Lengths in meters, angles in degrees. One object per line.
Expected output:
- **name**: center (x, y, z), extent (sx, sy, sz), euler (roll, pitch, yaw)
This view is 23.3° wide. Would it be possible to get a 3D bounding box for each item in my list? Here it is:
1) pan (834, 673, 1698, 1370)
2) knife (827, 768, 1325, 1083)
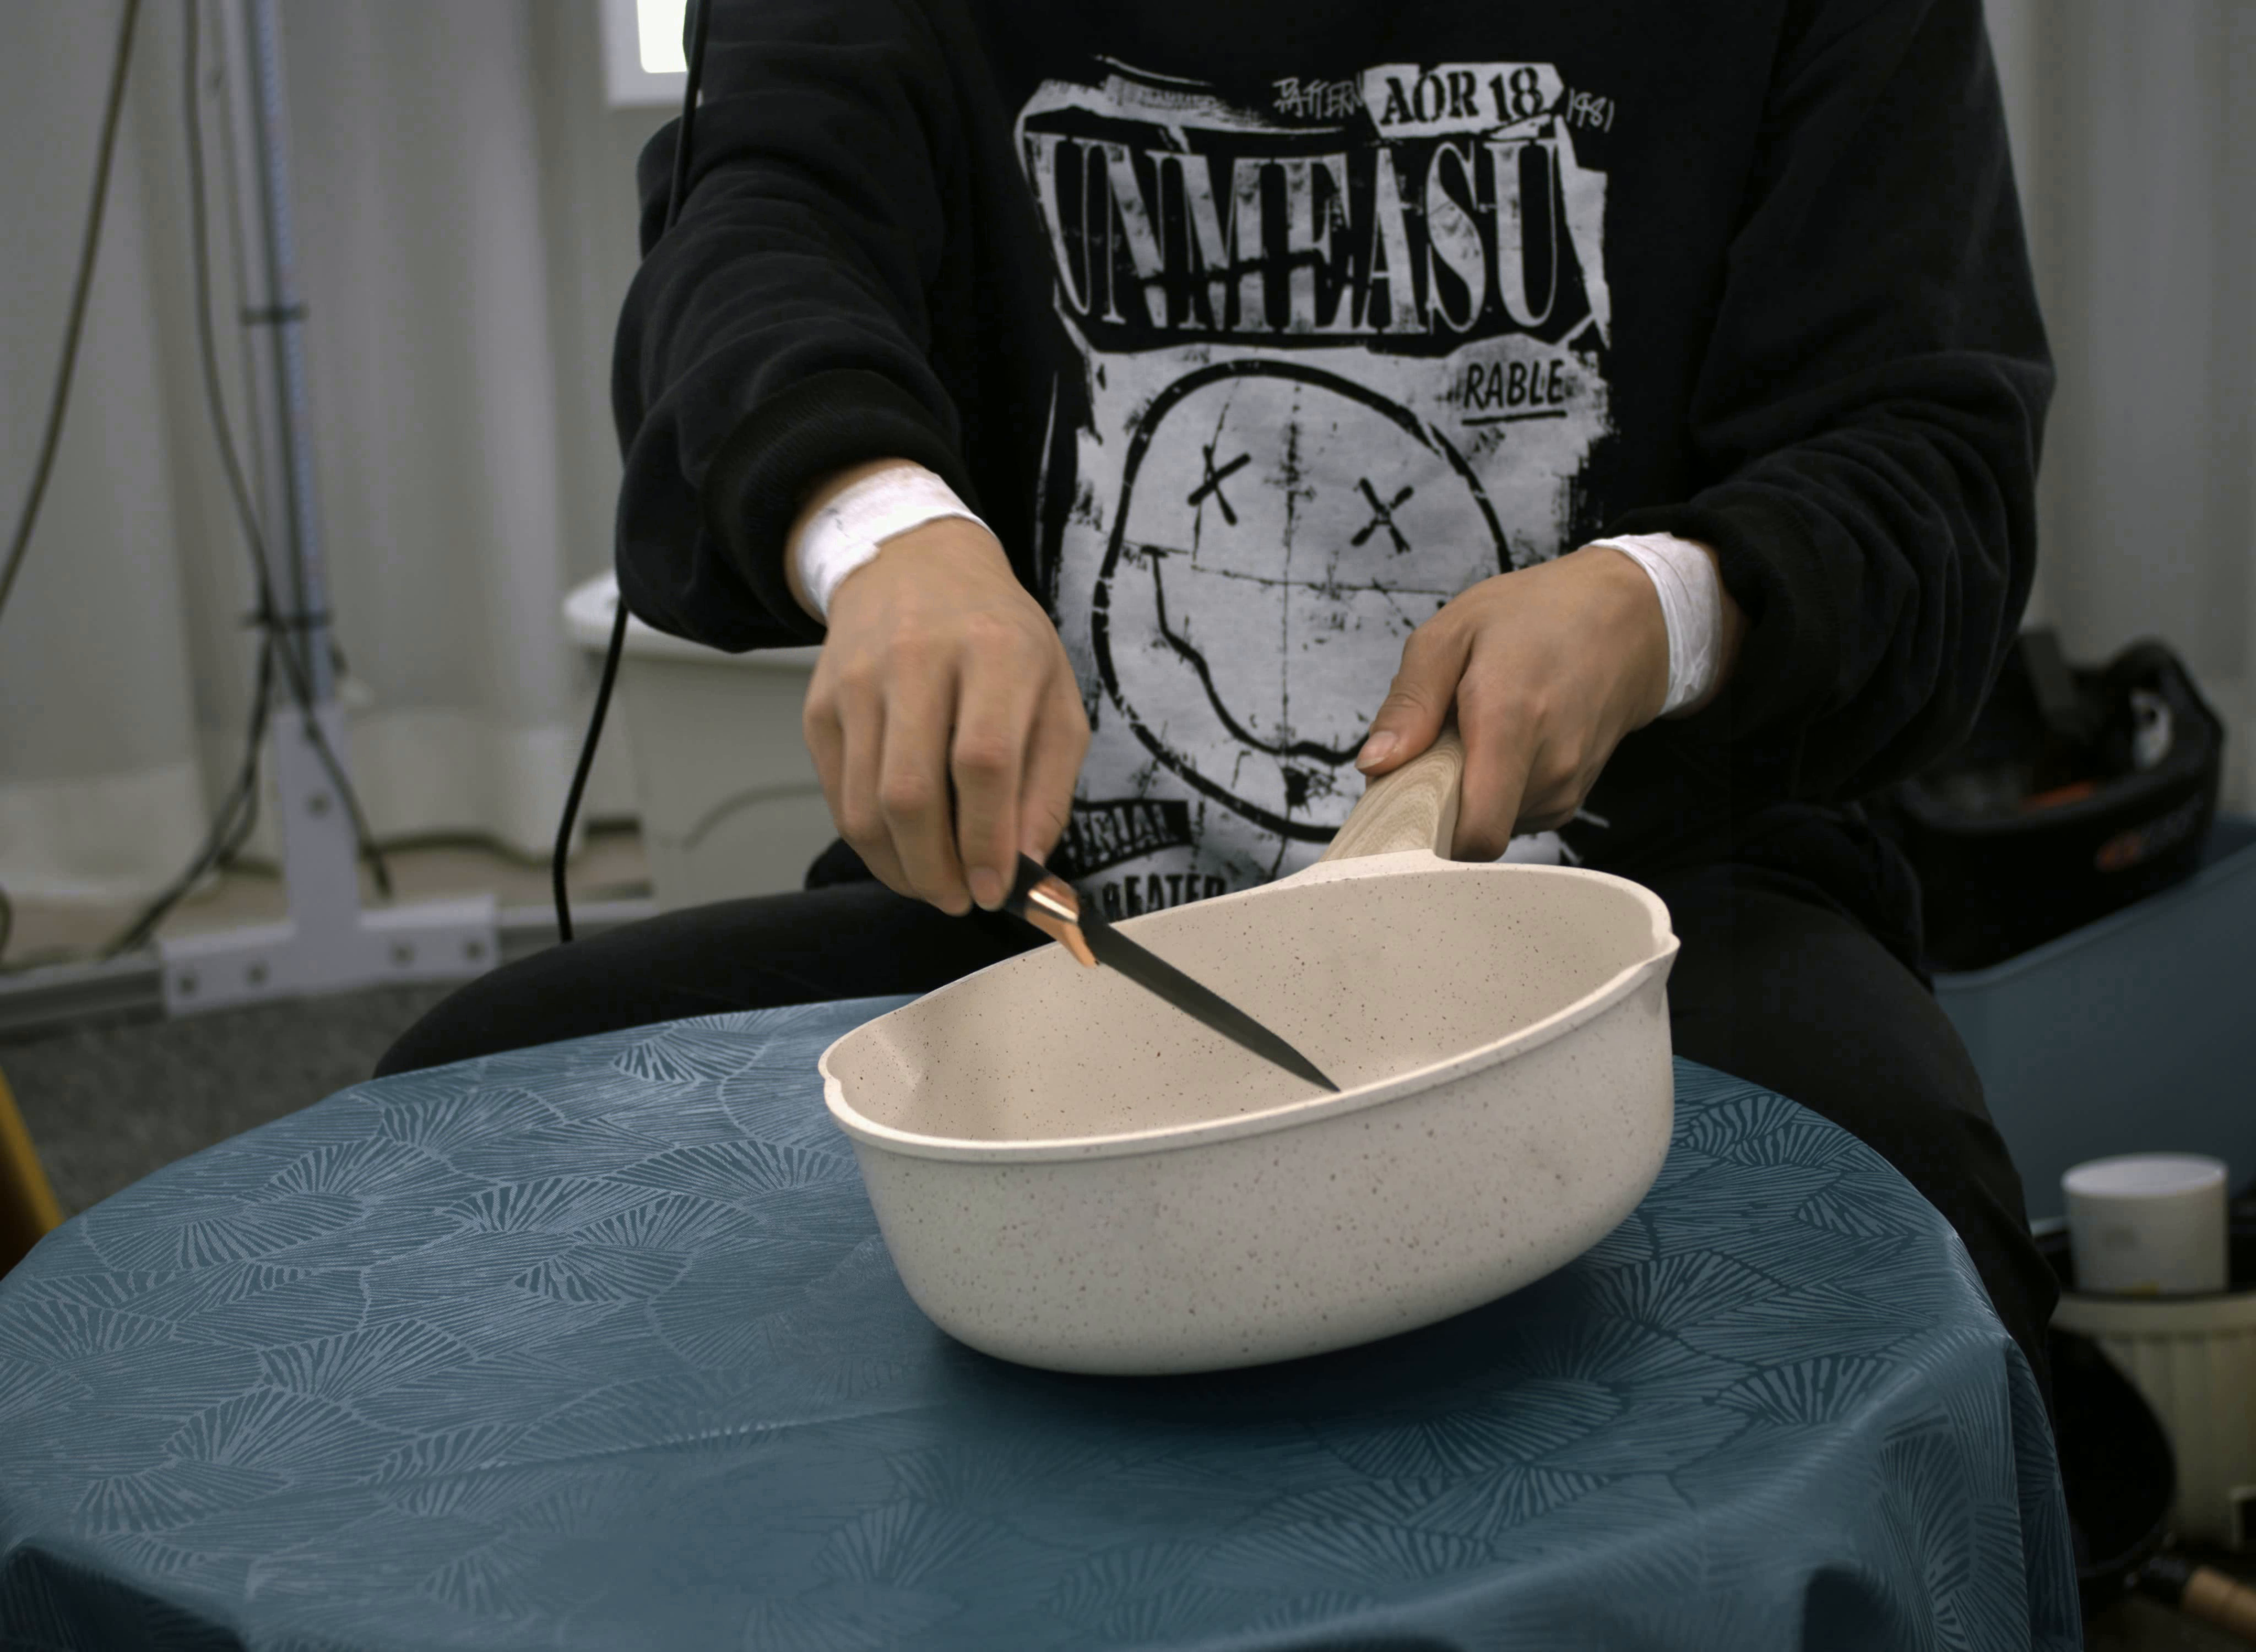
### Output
- **pan**: center (0.071, 0.054, 1.678), extent (0.263, 0.101, 0.436), euler (-9, 13, 20)
- **knife**: center (-0.014, 0.032, 1.615), extent (0.017, 0.026, 0.228), euler (-35, 44, -26)
